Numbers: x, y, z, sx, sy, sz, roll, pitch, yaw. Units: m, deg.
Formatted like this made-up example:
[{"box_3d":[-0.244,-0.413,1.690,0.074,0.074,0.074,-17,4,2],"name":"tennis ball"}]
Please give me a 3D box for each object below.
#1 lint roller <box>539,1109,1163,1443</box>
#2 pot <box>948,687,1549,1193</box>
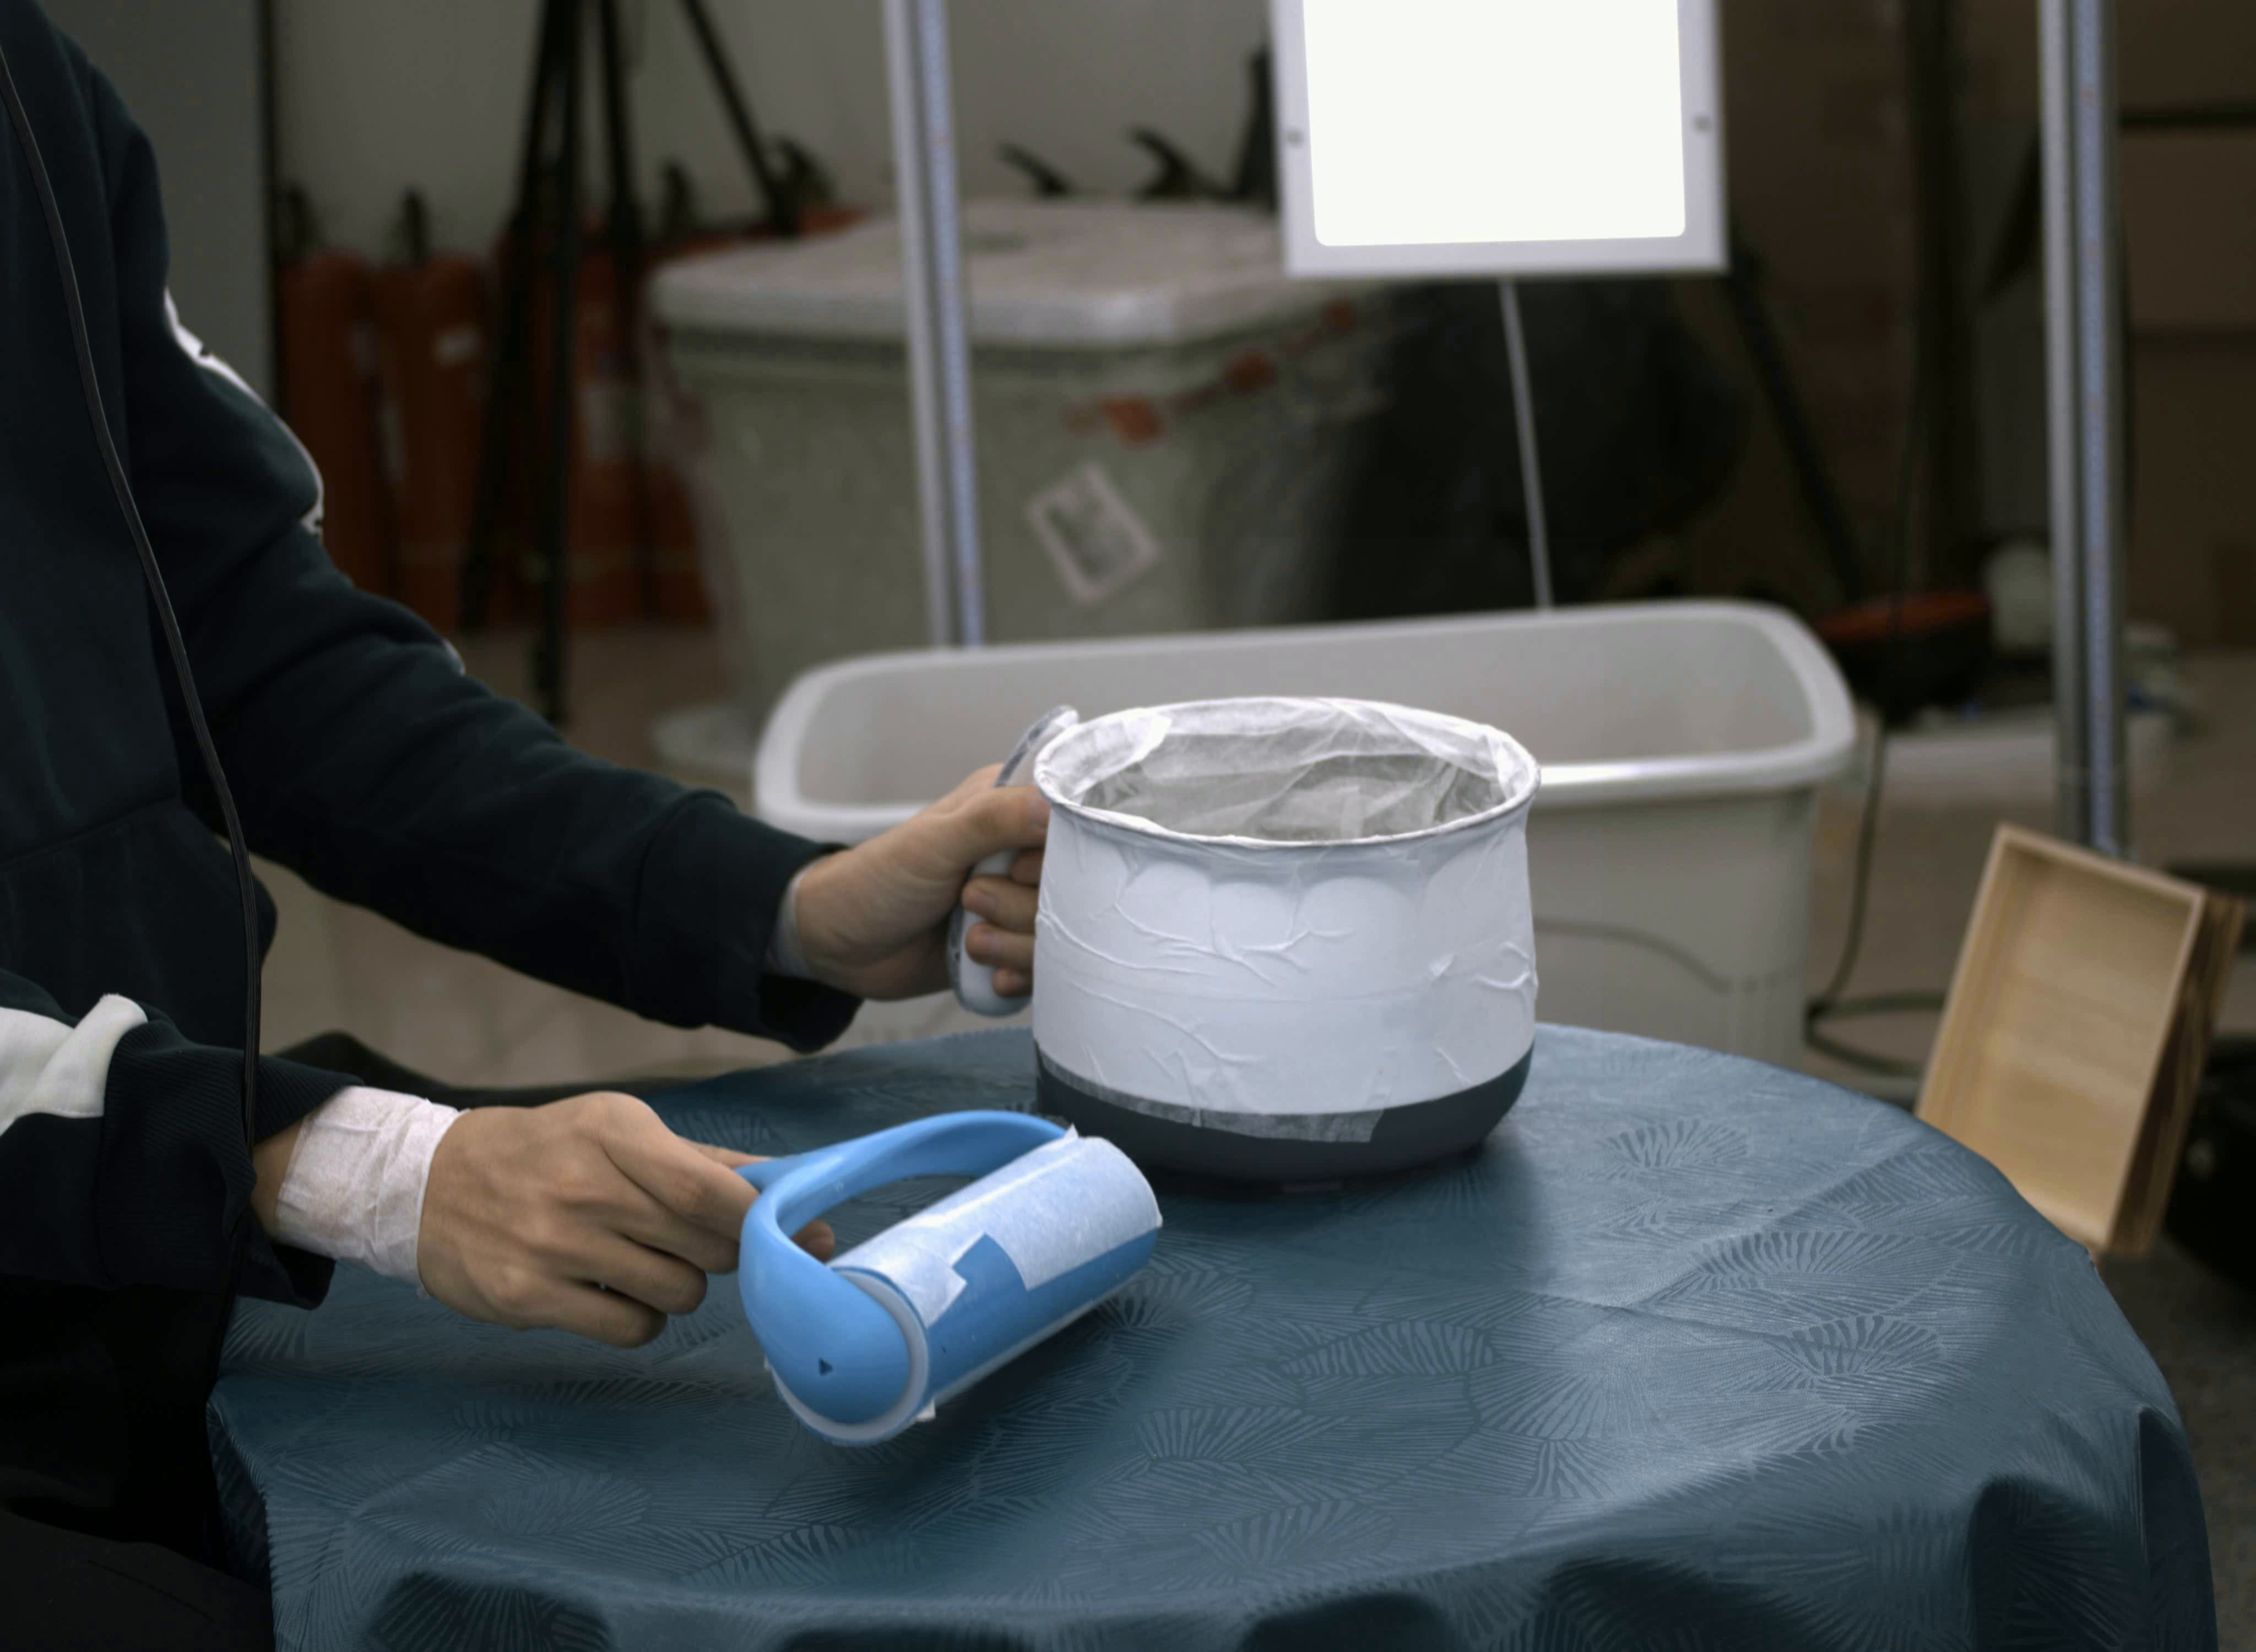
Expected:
[{"box_3d":[-0.101,0.135,1.711,0.182,0.068,0.225,2,11,18],"name":"lint roller"},{"box_3d":[0.033,0.033,1.934,0.238,0.137,0.174,14,22,36],"name":"pot"}]
